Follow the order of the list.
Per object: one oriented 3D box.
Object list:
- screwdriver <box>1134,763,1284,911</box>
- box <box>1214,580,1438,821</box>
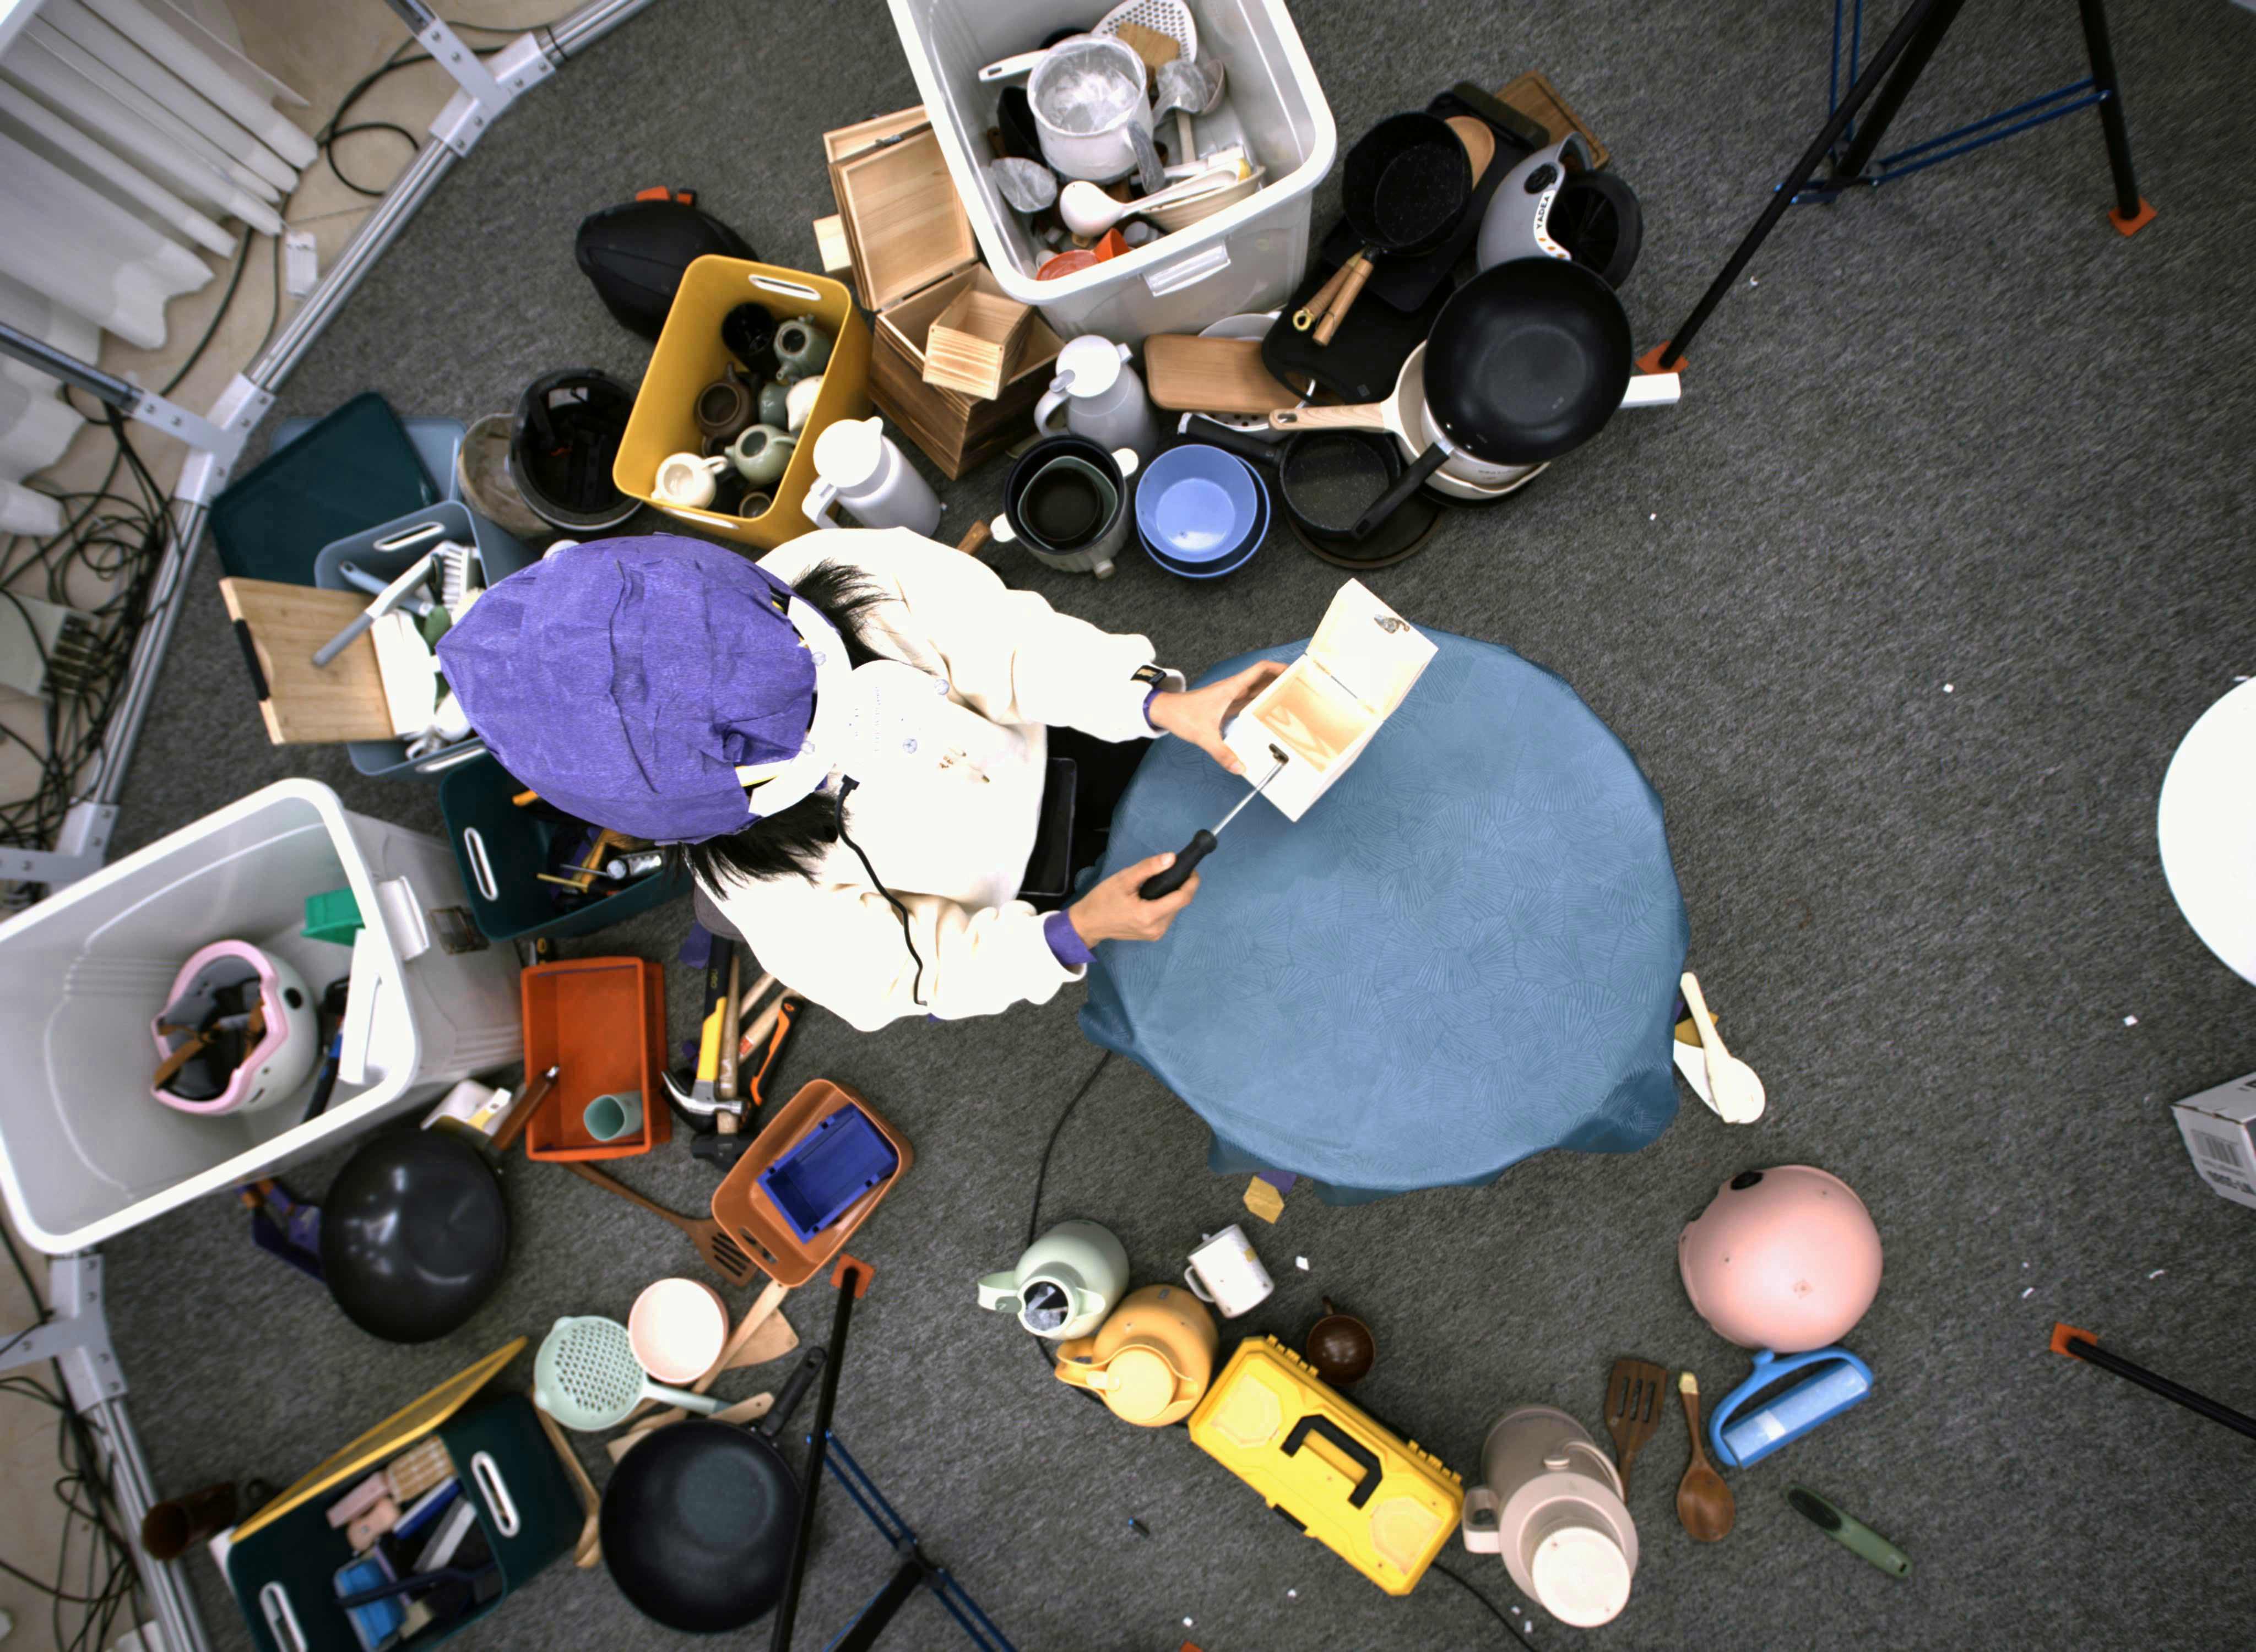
[{"bbox_3d":[0.078,0.011,1.303,0.201,0.031,0.031,-43,79,19],"label":"screwdriver"},{"bbox_3d":[0.178,-0.113,1.269,0.102,0.188,0.131,43,62,8],"label":"box"}]
